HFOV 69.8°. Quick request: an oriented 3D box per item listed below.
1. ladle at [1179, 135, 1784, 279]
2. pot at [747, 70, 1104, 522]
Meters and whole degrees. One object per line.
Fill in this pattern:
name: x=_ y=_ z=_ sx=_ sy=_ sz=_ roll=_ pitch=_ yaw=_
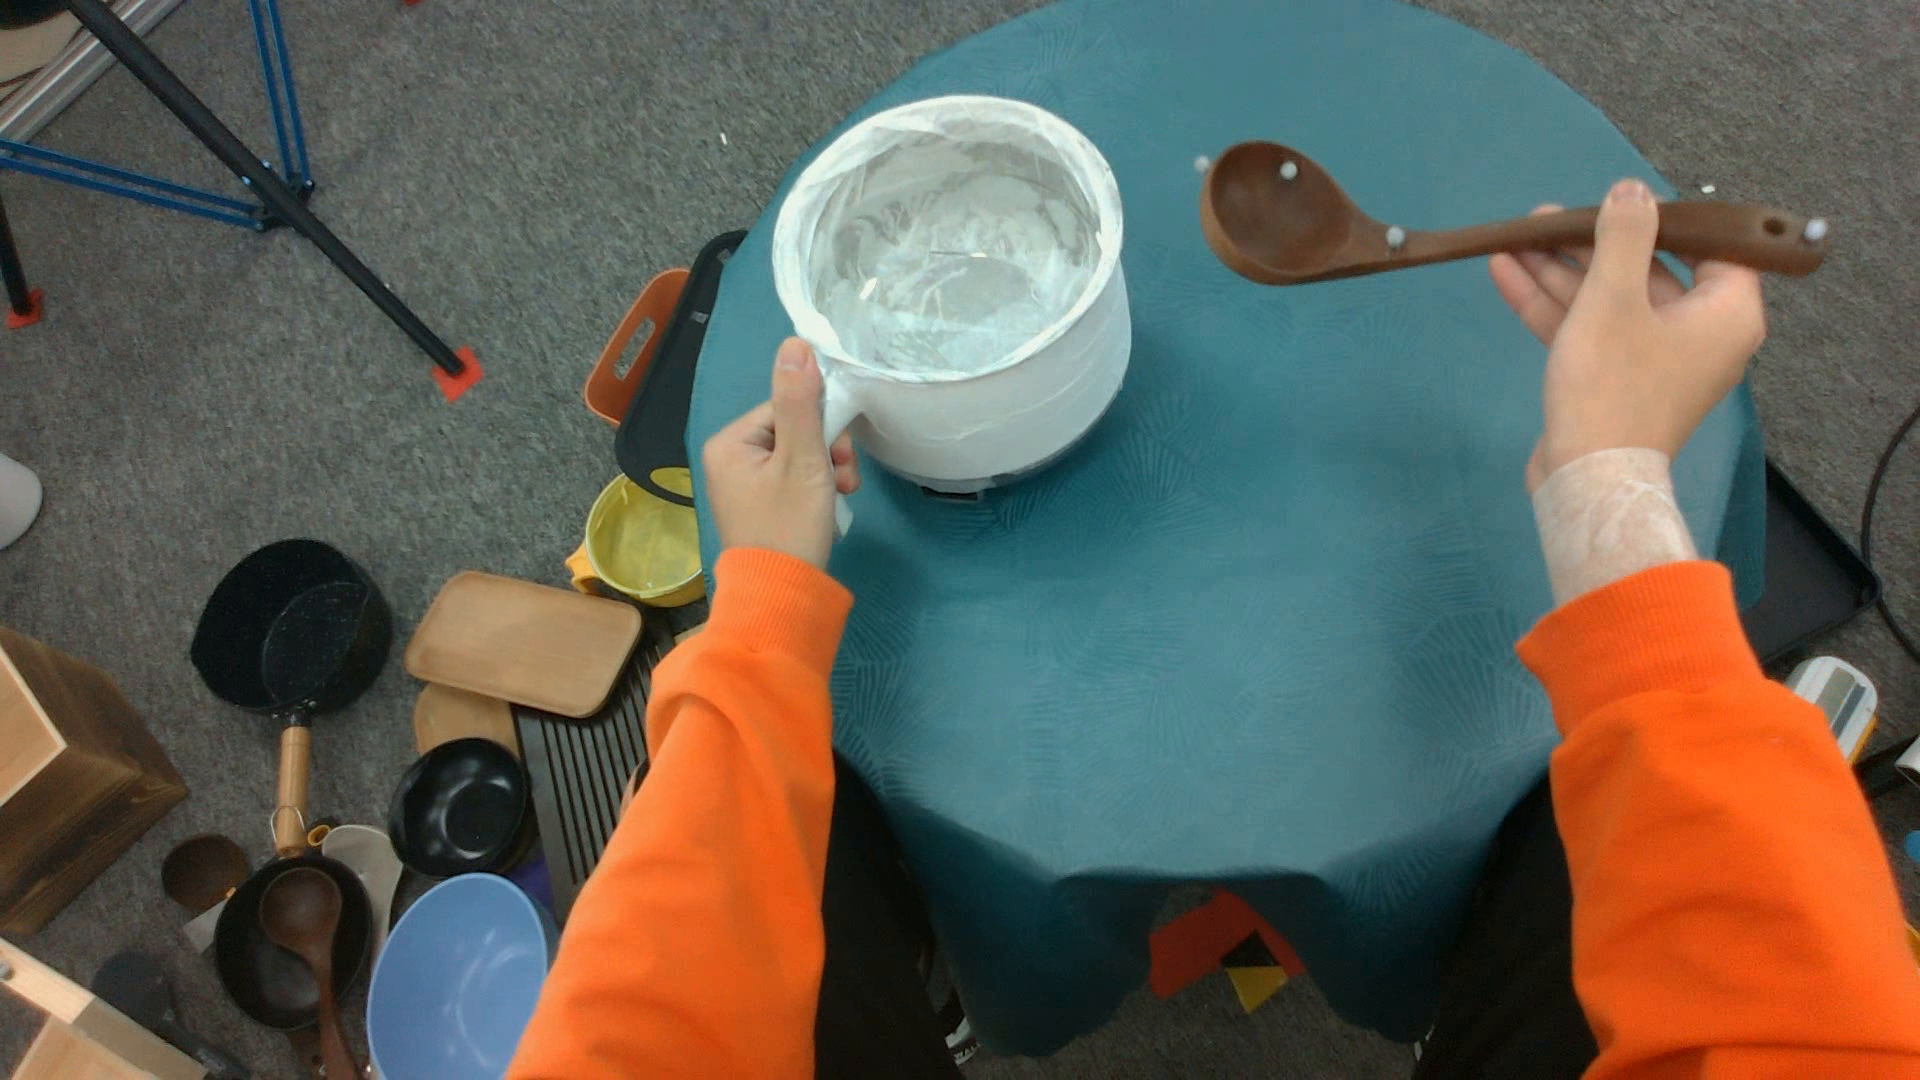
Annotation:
ladle: x=0.225 y=-0.150 z=0.625 sx=0.260 sy=0.065 sz=0.077 roll=8 pitch=64 yaw=32
pot: x=-0.028 y=-0.119 z=0.735 sx=0.179 sy=0.136 sz=0.234 roll=32 pitch=73 yaw=21
